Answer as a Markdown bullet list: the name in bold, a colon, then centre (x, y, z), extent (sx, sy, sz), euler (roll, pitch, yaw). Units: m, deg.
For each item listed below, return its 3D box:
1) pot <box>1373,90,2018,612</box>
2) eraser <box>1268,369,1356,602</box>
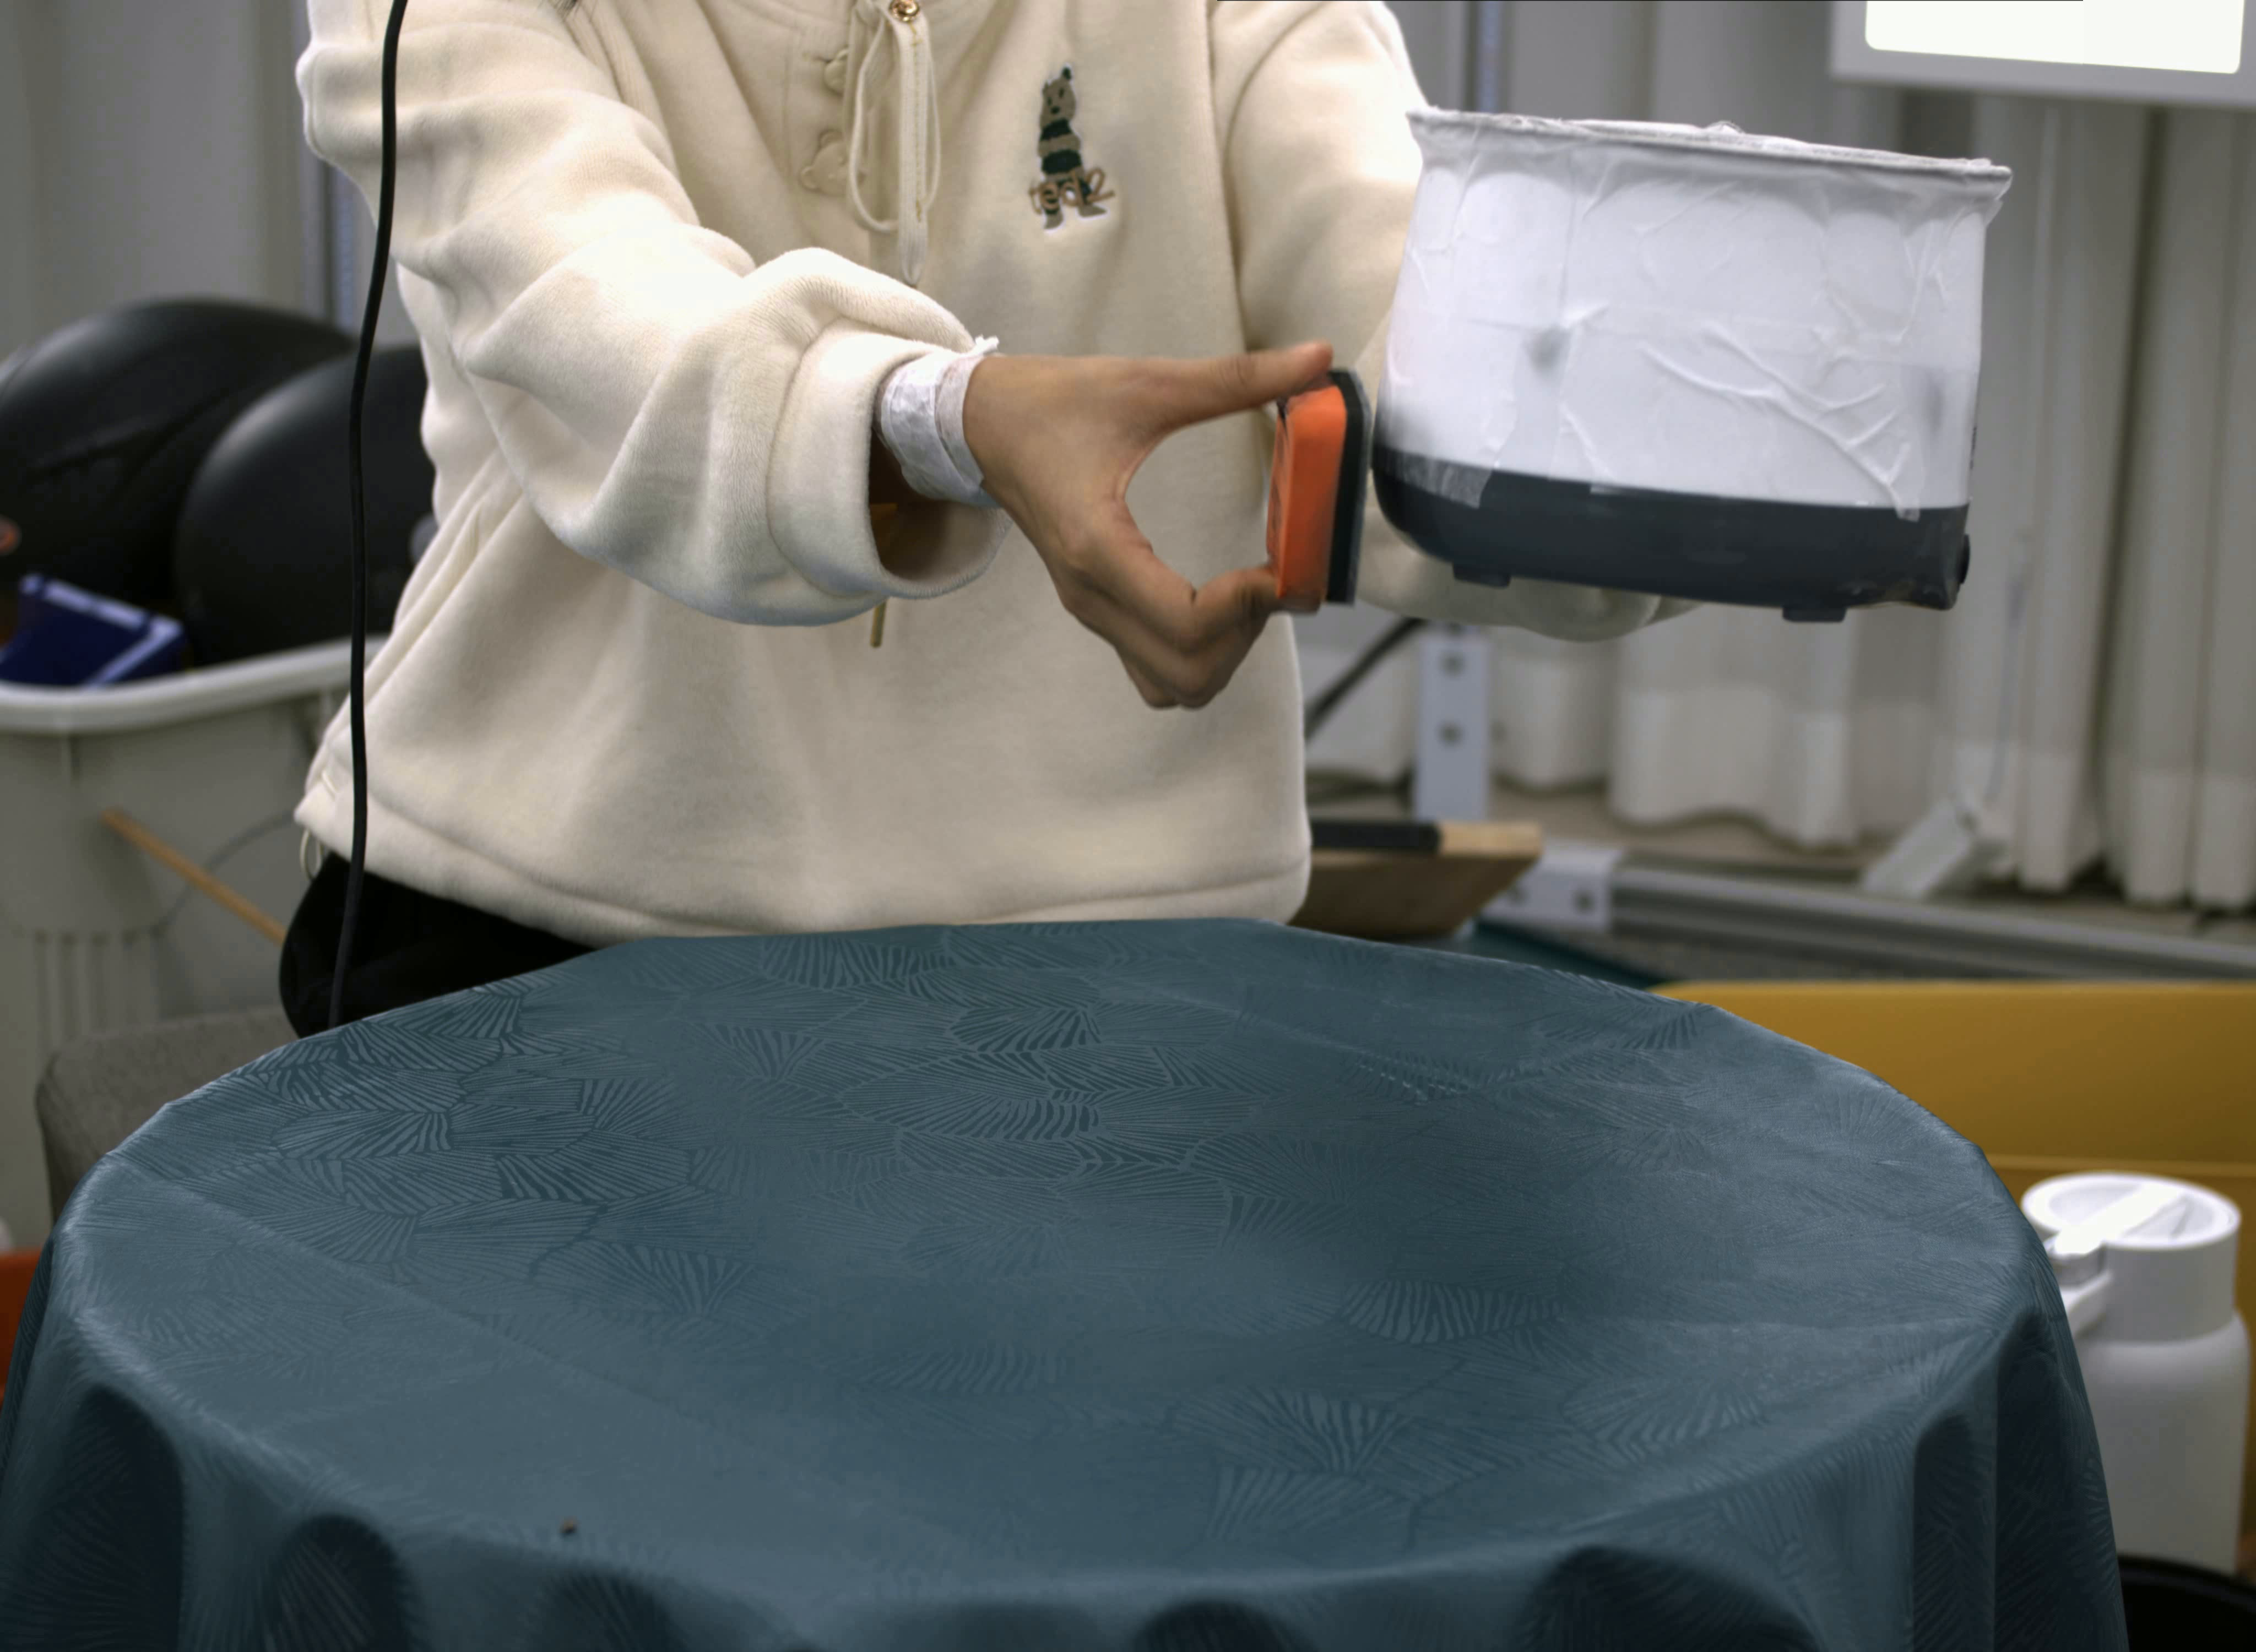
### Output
- **pot**: centre (0.165, -0.144, 1.557), extent (0.178, 0.137, 0.233), euler (7, 10, 6)
- **eraser**: centre (0.053, -0.100, 1.536), extent (0.023, 0.059, 0.107), euler (4, 12, 1)
